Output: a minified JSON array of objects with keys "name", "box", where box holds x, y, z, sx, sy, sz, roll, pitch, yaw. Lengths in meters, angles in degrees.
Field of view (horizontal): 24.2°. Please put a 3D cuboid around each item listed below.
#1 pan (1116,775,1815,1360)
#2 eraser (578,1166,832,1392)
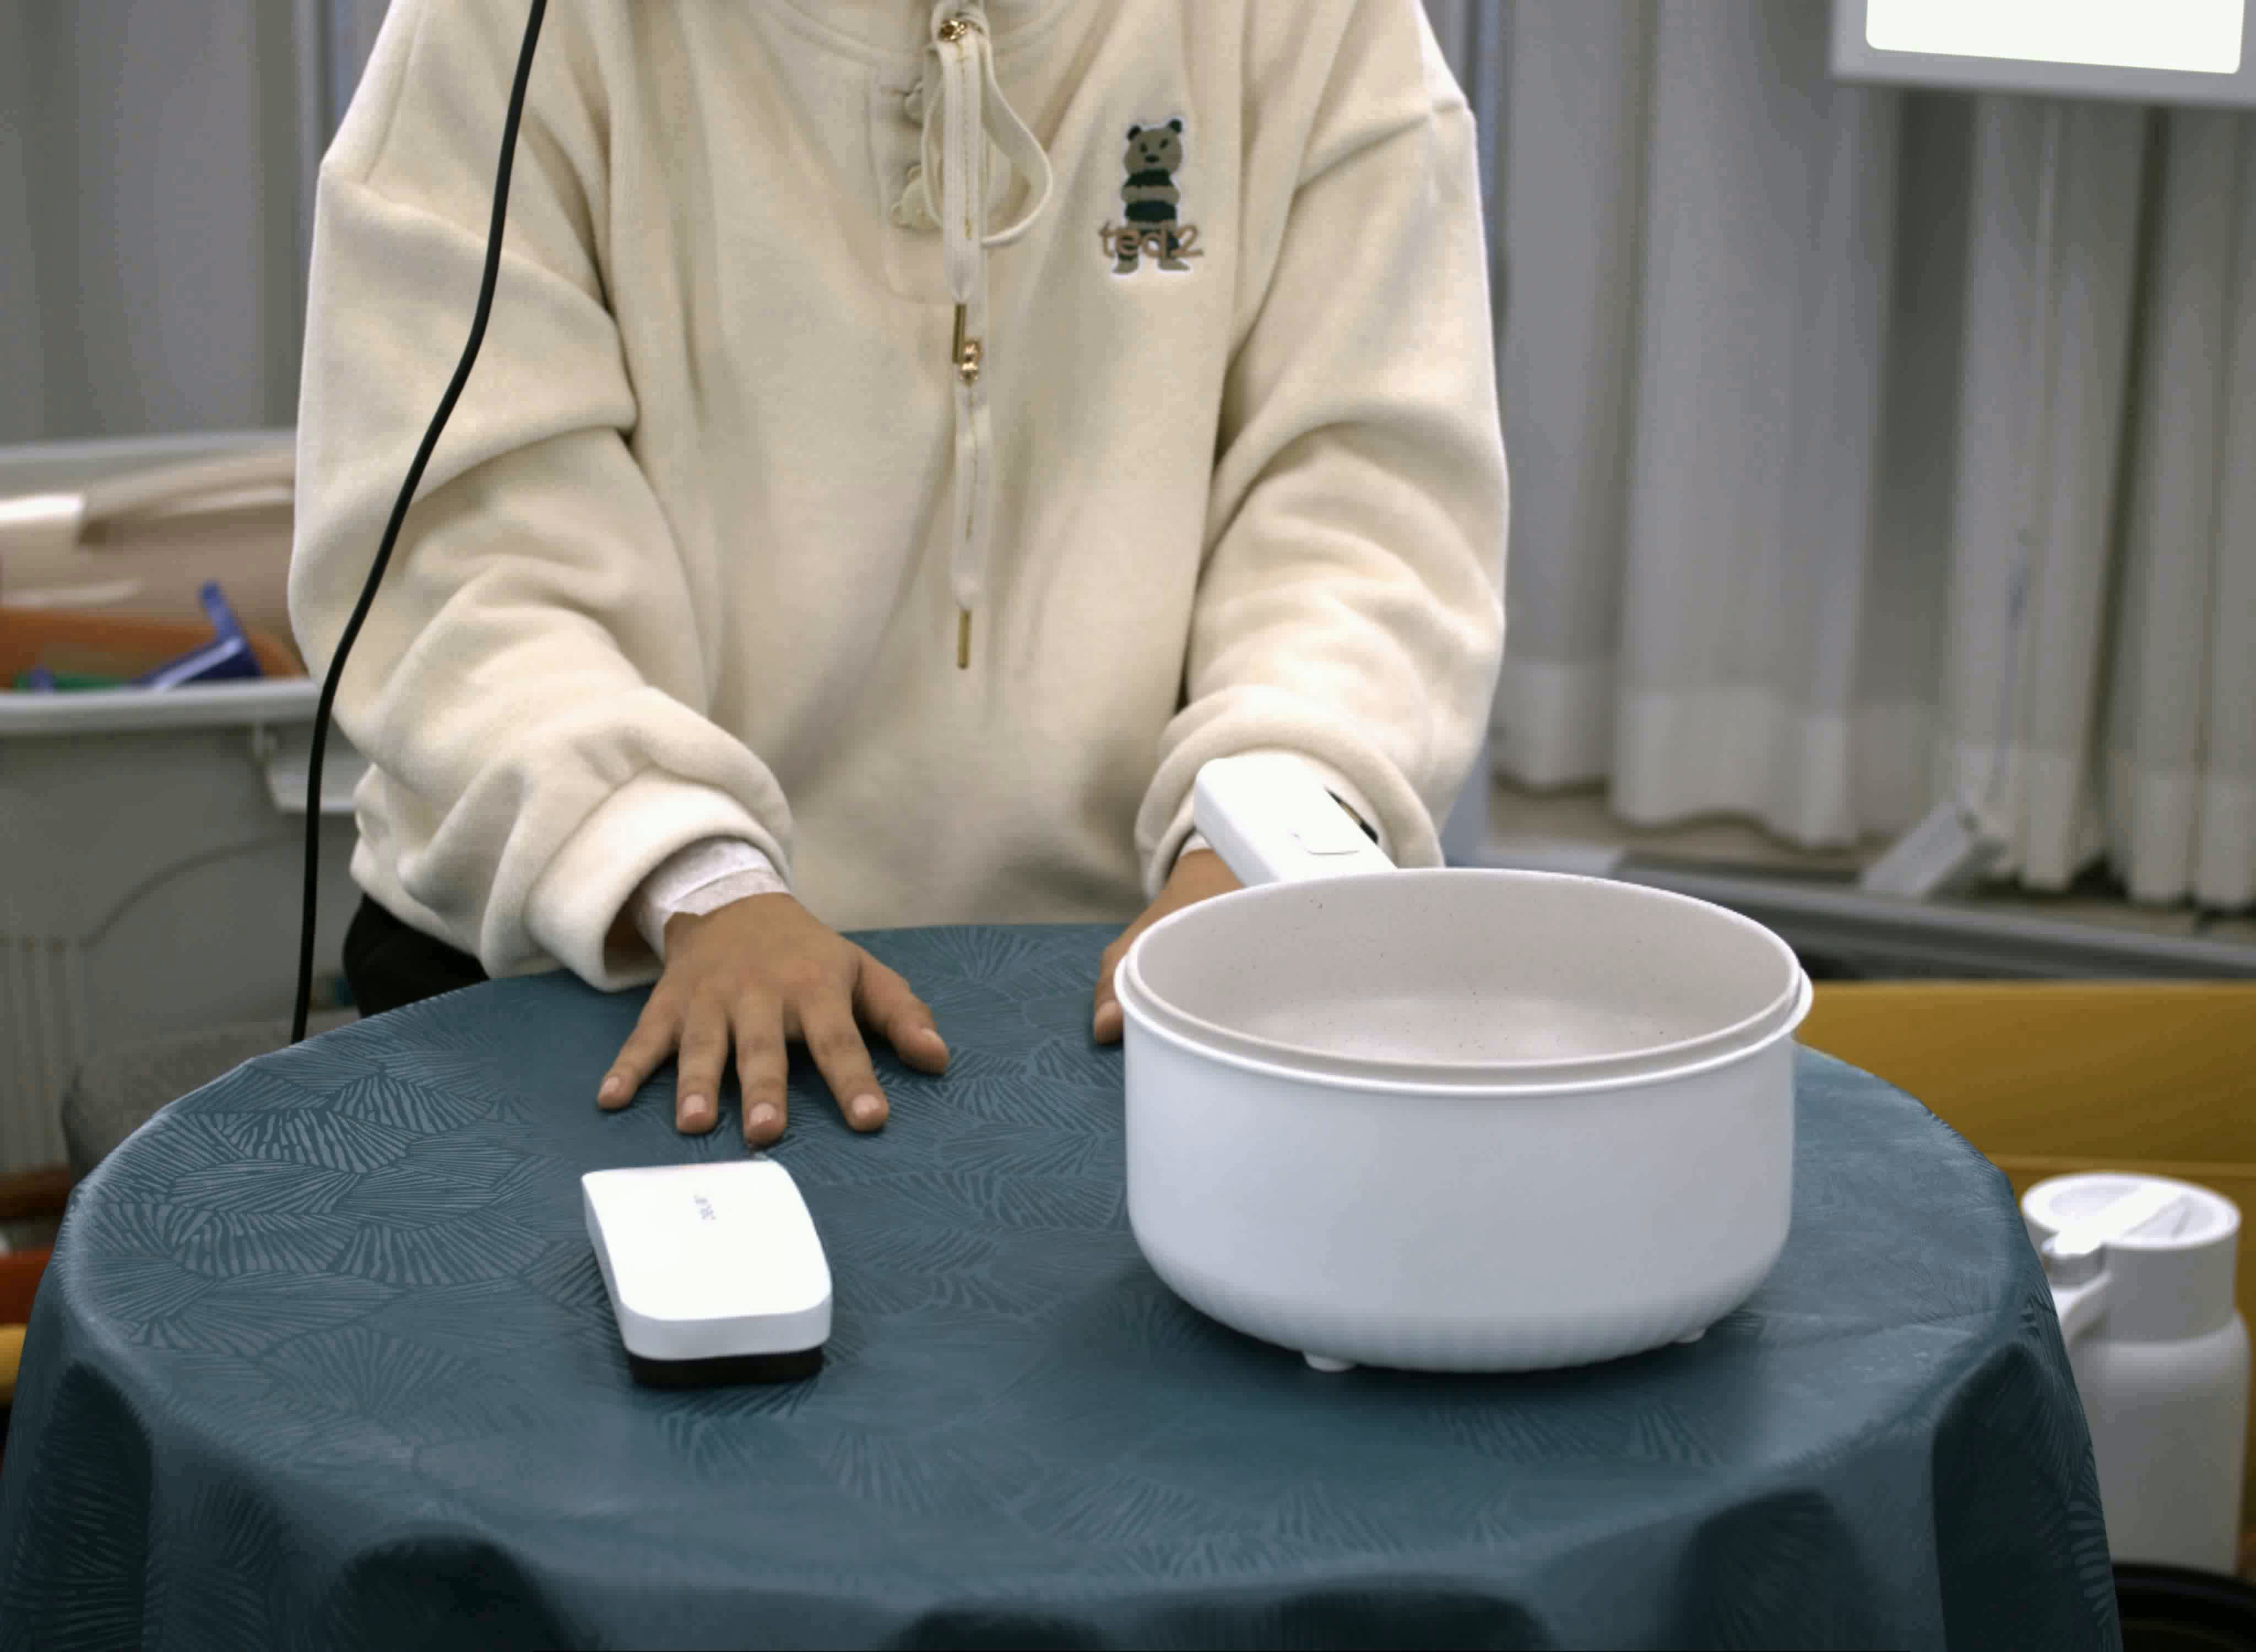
[{"name":"pan","box":[0.079,0.068,1.597,0.201,0.103,0.351,-2,13,-13]},{"name":"eraser","box":[-0.122,0.125,1.513,0.063,0.035,0.130,-1,16,-12]}]
